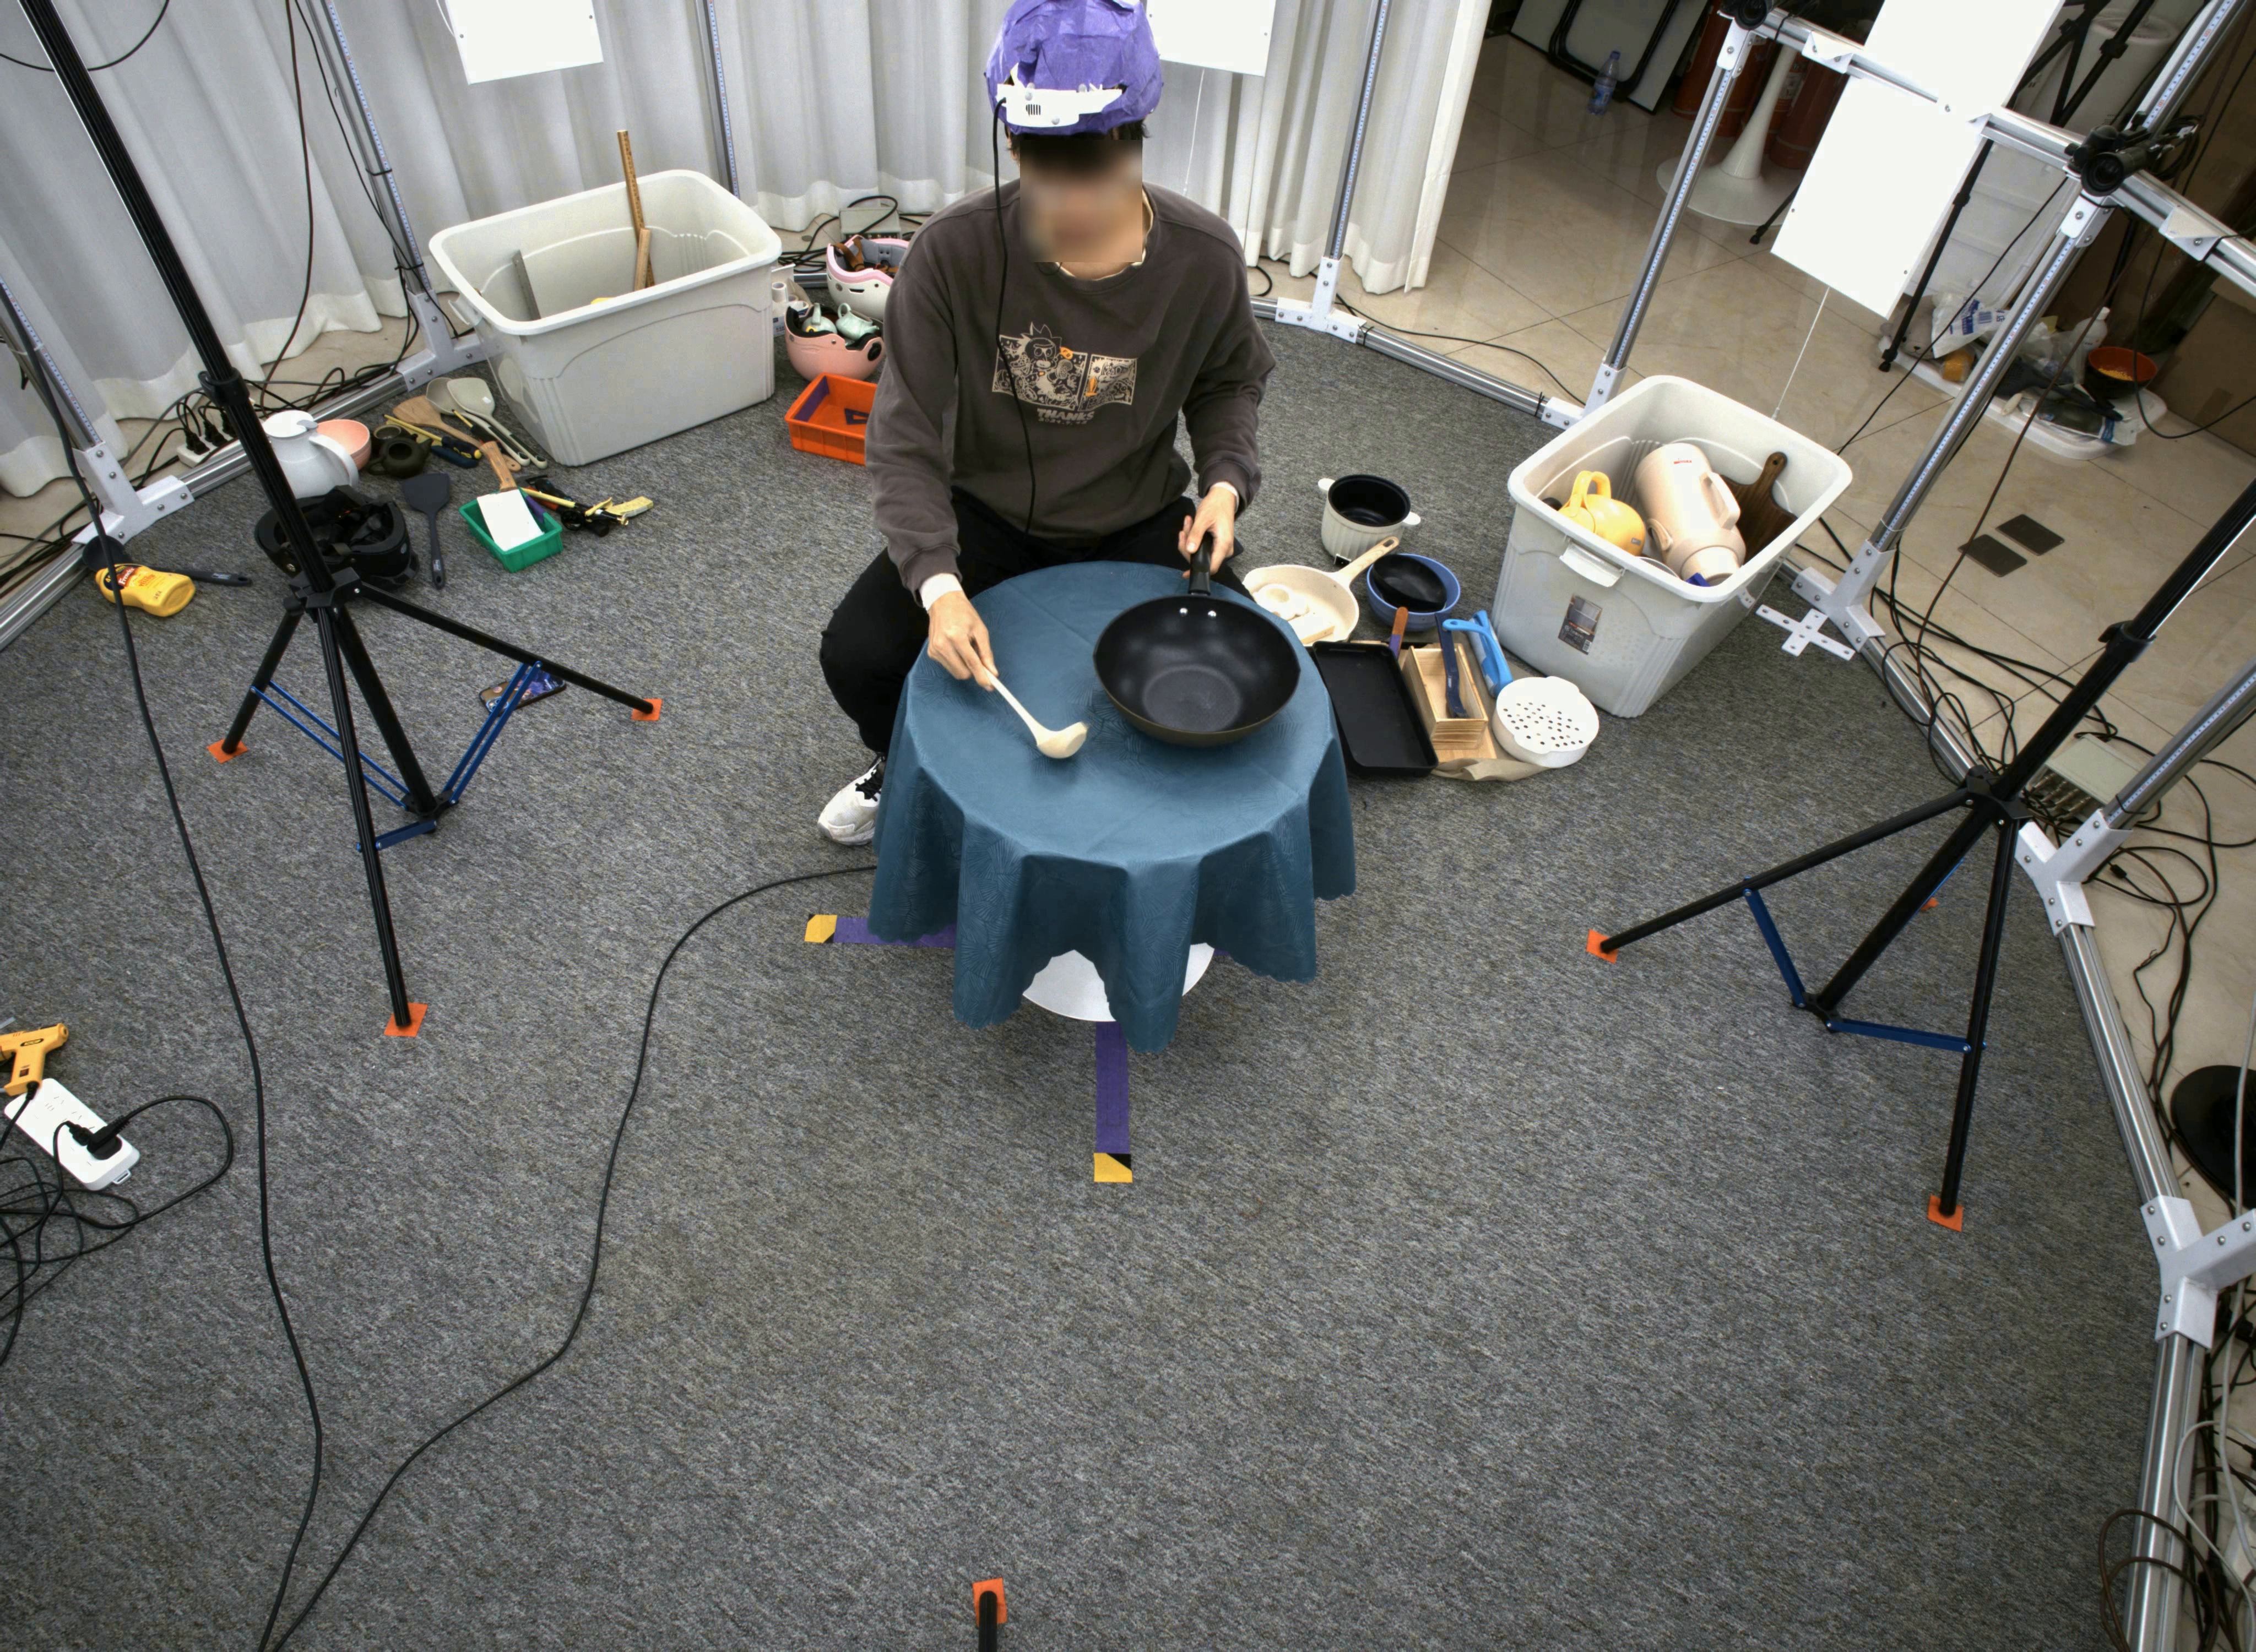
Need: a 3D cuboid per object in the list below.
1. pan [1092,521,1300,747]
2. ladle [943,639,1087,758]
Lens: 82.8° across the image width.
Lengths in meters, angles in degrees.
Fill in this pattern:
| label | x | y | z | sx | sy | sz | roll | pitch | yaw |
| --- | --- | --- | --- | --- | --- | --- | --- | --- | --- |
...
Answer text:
| label | x | y | z | sx | sy | sz | roll | pitch | yaw |
| --- | --- | --- | --- | --- | --- | --- | --- | --- | --- |
| pan | 0.097 | -0.272 | 1.855 | 0.288 | 0.085 | 0.475 | 5 | 48 | 1 |
| ladle | -0.157 | -0.191 | 1.737 | 0.257 | 0.071 | 0.073 | 45 | 55 | 15 |
